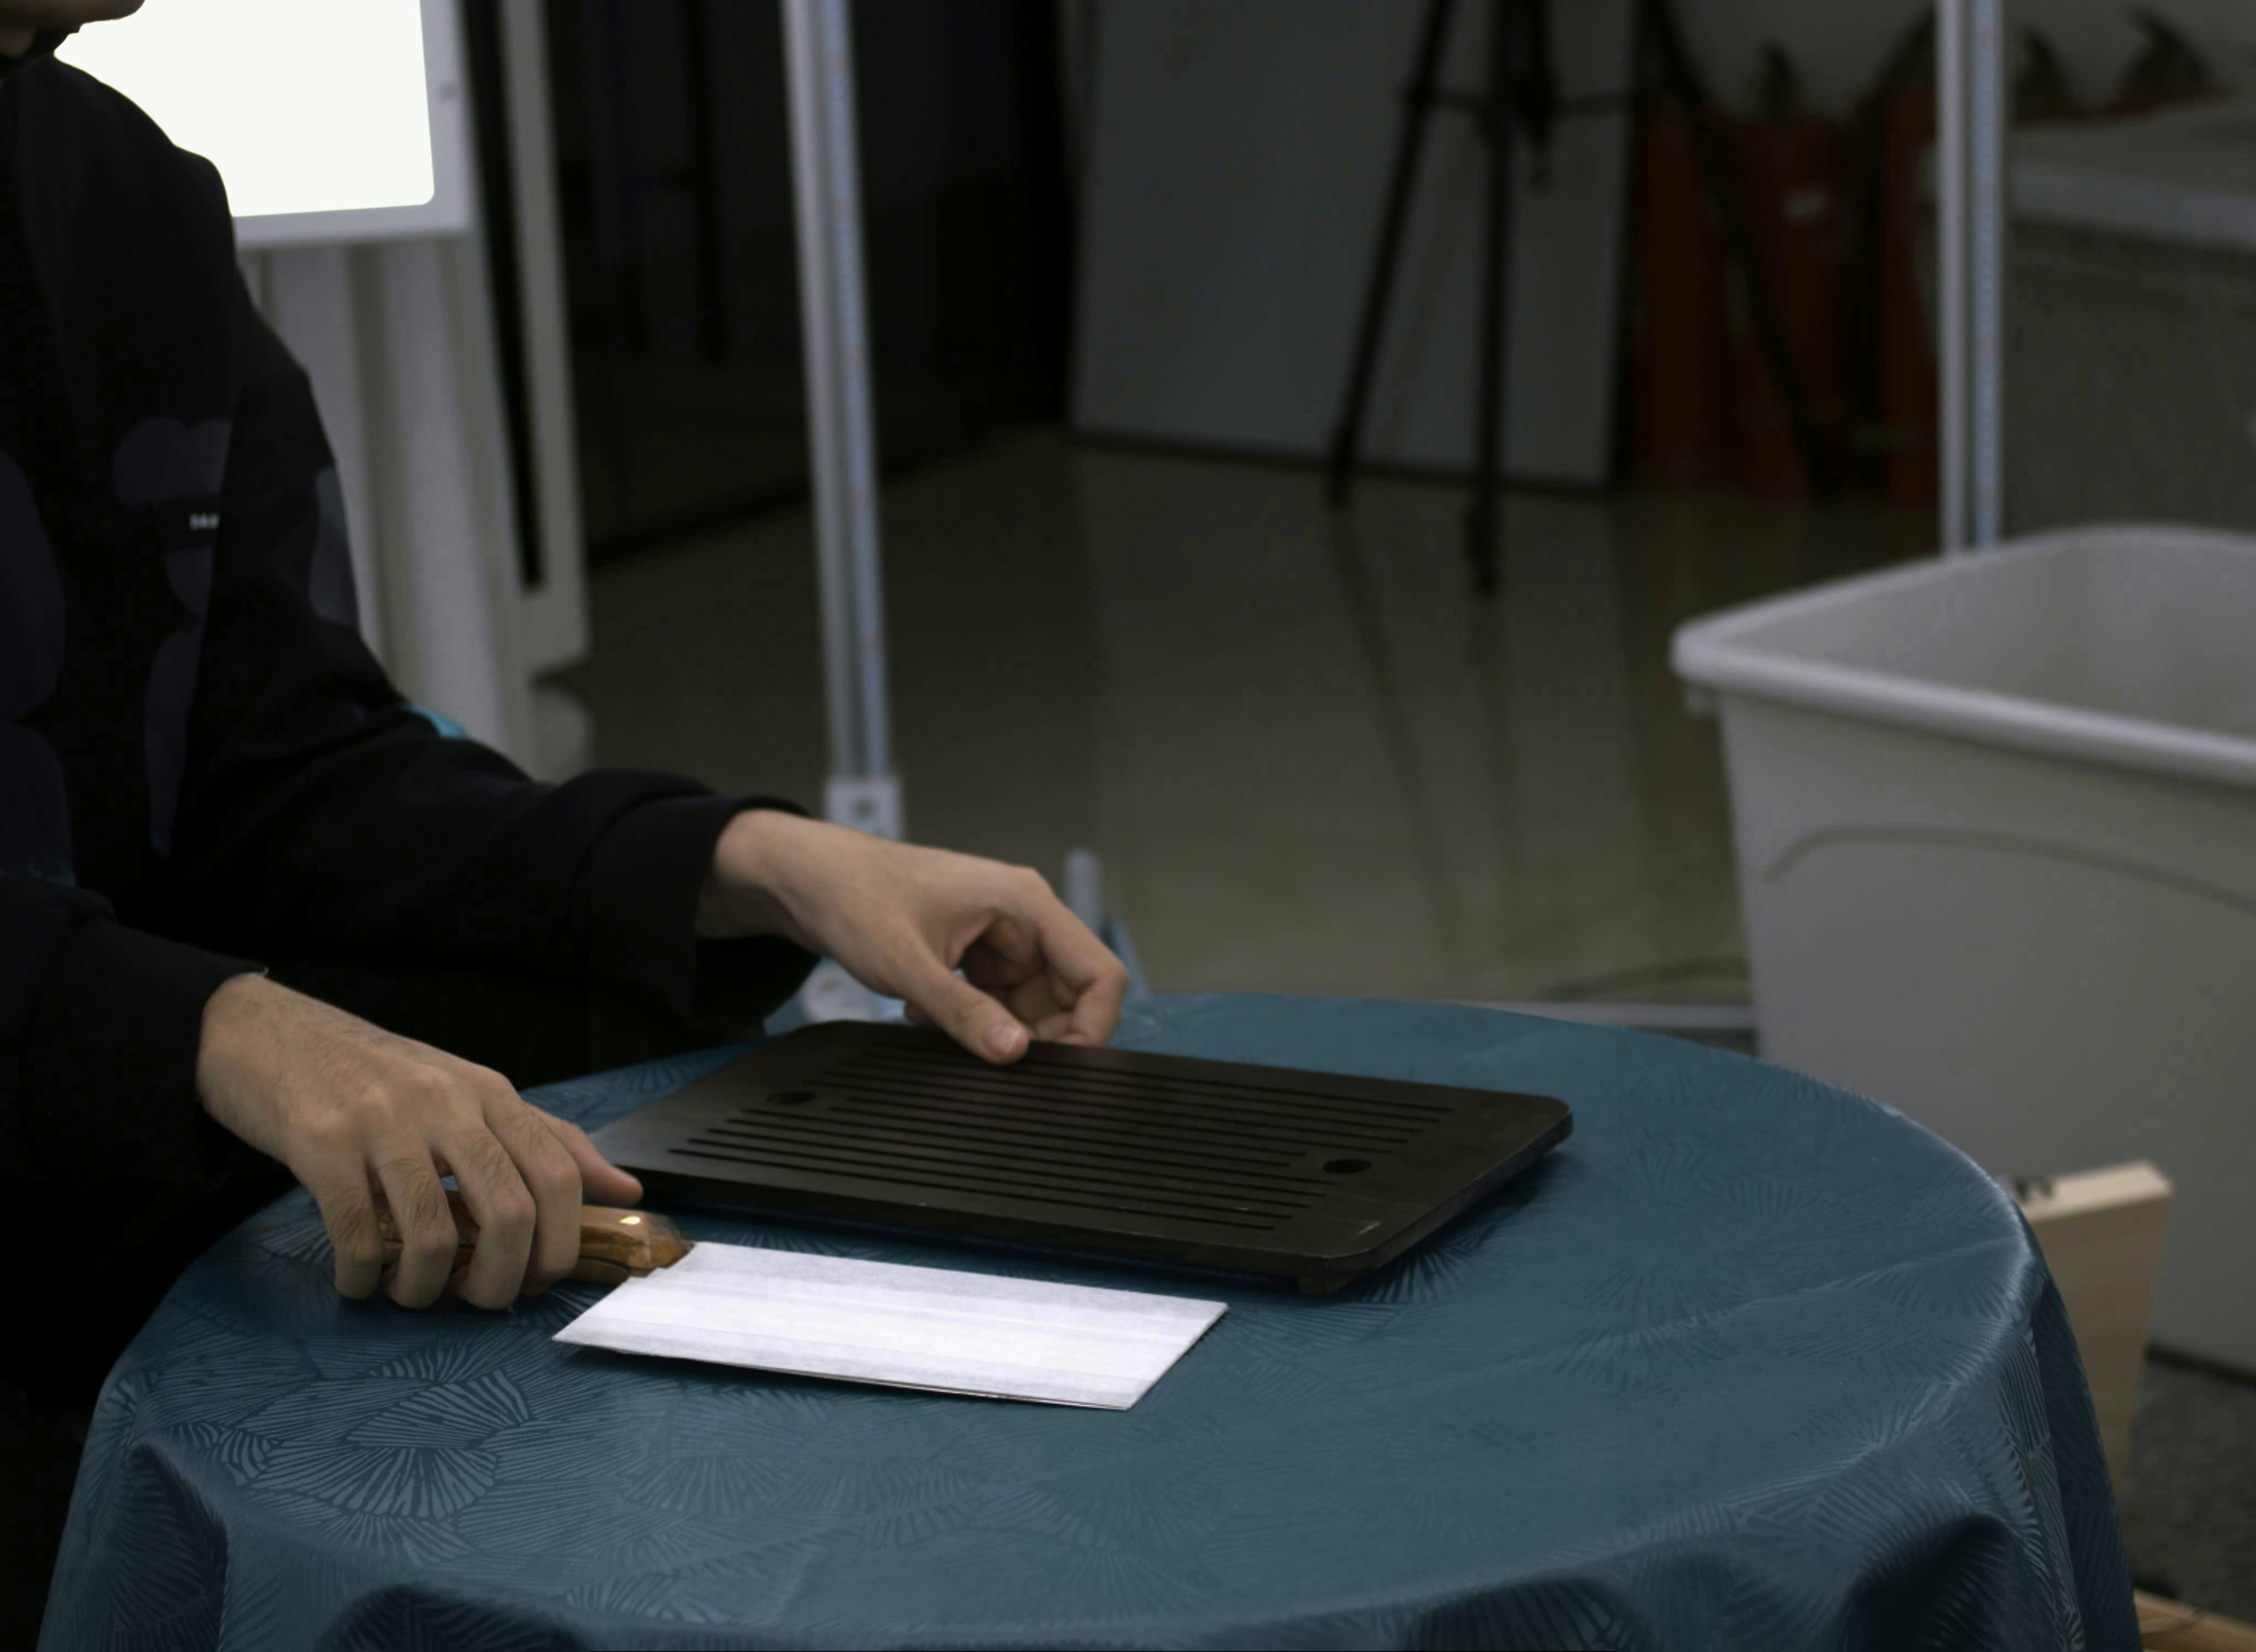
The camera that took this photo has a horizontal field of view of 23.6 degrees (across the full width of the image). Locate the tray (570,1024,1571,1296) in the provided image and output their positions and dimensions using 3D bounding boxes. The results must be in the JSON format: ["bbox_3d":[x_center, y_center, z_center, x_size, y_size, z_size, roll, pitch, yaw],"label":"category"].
[{"bbox_3d":[-0.019,0.108,1.790,0.307,0.019,0.167,4,17,32],"label":"tray"}]

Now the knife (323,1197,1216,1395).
[{"bbox_3d":[-0.123,0.148,1.668,0.306,0.021,0.092,4,17,22],"label":"knife"}]
